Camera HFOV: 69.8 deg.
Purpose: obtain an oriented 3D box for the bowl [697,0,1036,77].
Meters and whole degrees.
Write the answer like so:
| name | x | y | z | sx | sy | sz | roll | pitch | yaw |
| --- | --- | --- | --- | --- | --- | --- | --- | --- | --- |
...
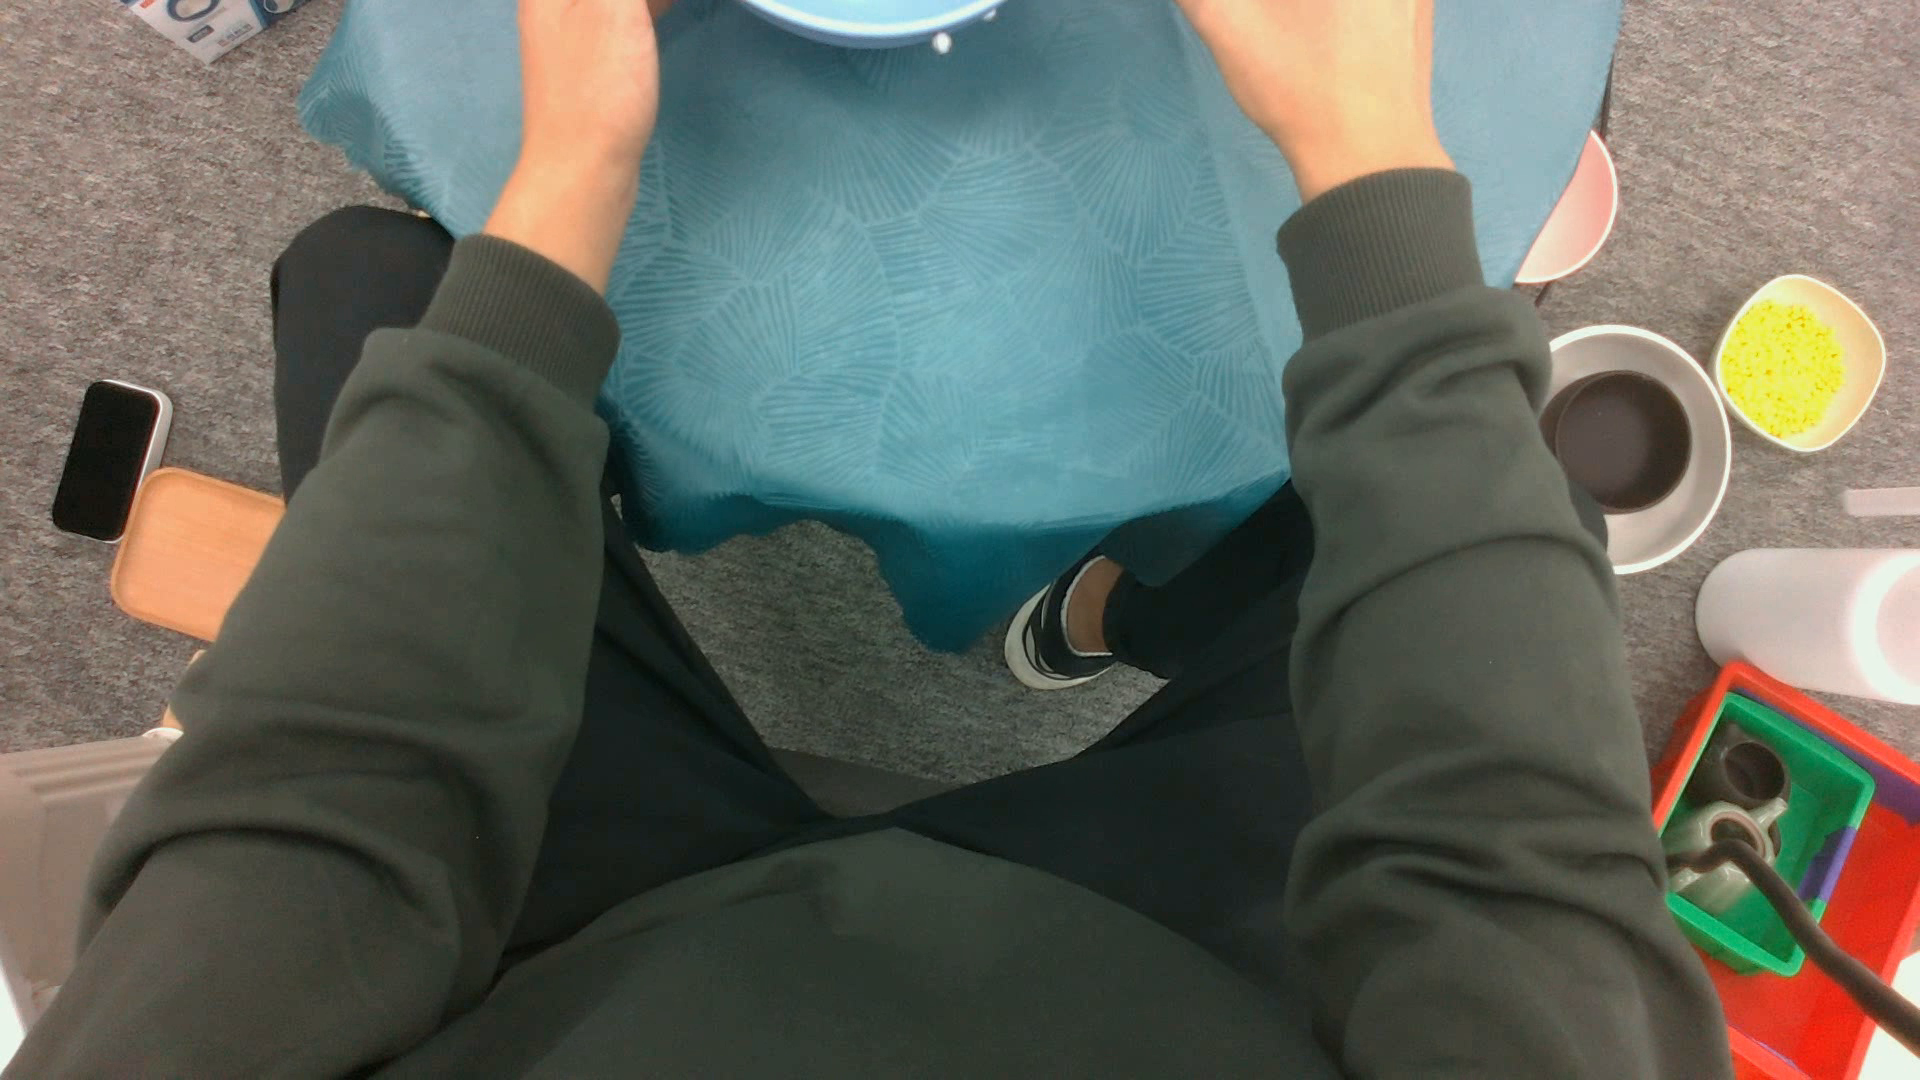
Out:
| name | x | y | z | sx | sy | sz | roll | pitch | yaw |
| --- | --- | --- | --- | --- | --- | --- | --- | --- | --- |
| bowl | -0.044 | -0.291 | 0.605 | 0.196 | 0.095 | 0.196 | 0 | 91 | -5 |
